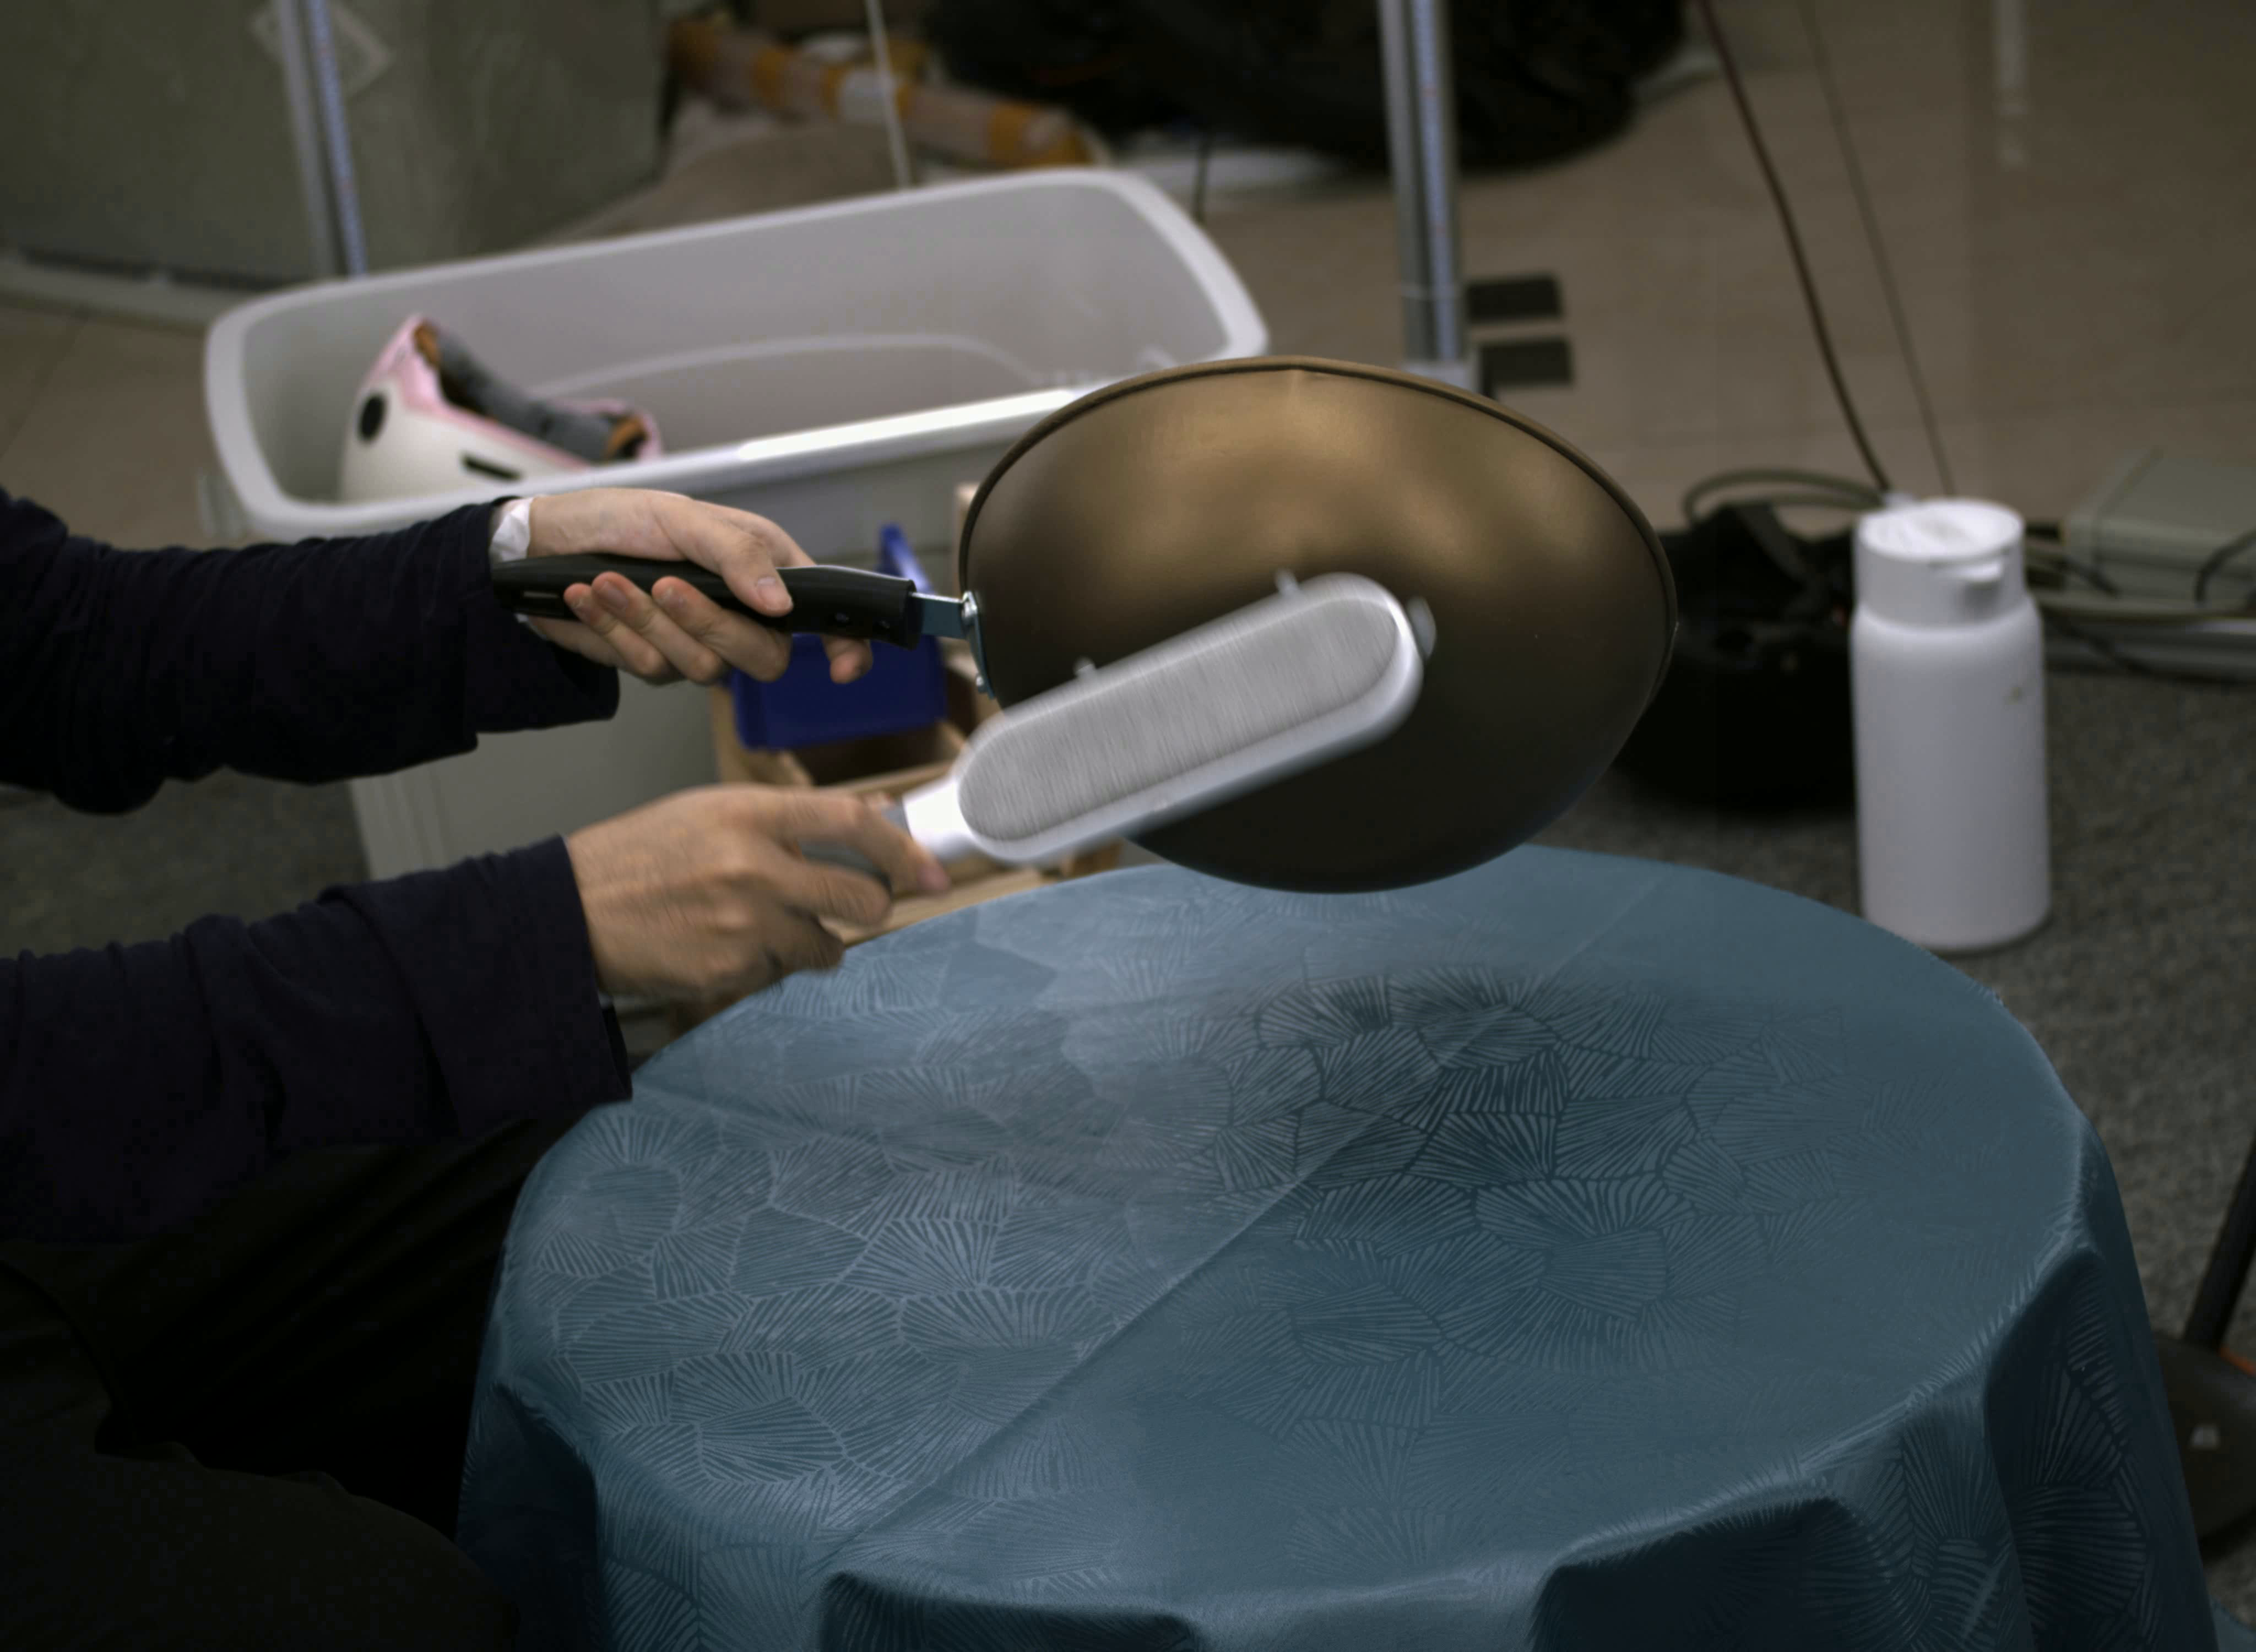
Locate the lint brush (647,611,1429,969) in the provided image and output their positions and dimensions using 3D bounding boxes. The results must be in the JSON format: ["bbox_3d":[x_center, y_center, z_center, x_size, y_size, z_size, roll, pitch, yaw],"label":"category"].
[{"bbox_3d":[-0.035,-0.008,2.029,0.309,0.059,0.021,-20,-21,16],"label":"lint brush"}]

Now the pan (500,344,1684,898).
[{"bbox_3d":[-0.022,-0.060,2.161,0.462,0.293,0.085,2,53,9],"label":"pan"}]
